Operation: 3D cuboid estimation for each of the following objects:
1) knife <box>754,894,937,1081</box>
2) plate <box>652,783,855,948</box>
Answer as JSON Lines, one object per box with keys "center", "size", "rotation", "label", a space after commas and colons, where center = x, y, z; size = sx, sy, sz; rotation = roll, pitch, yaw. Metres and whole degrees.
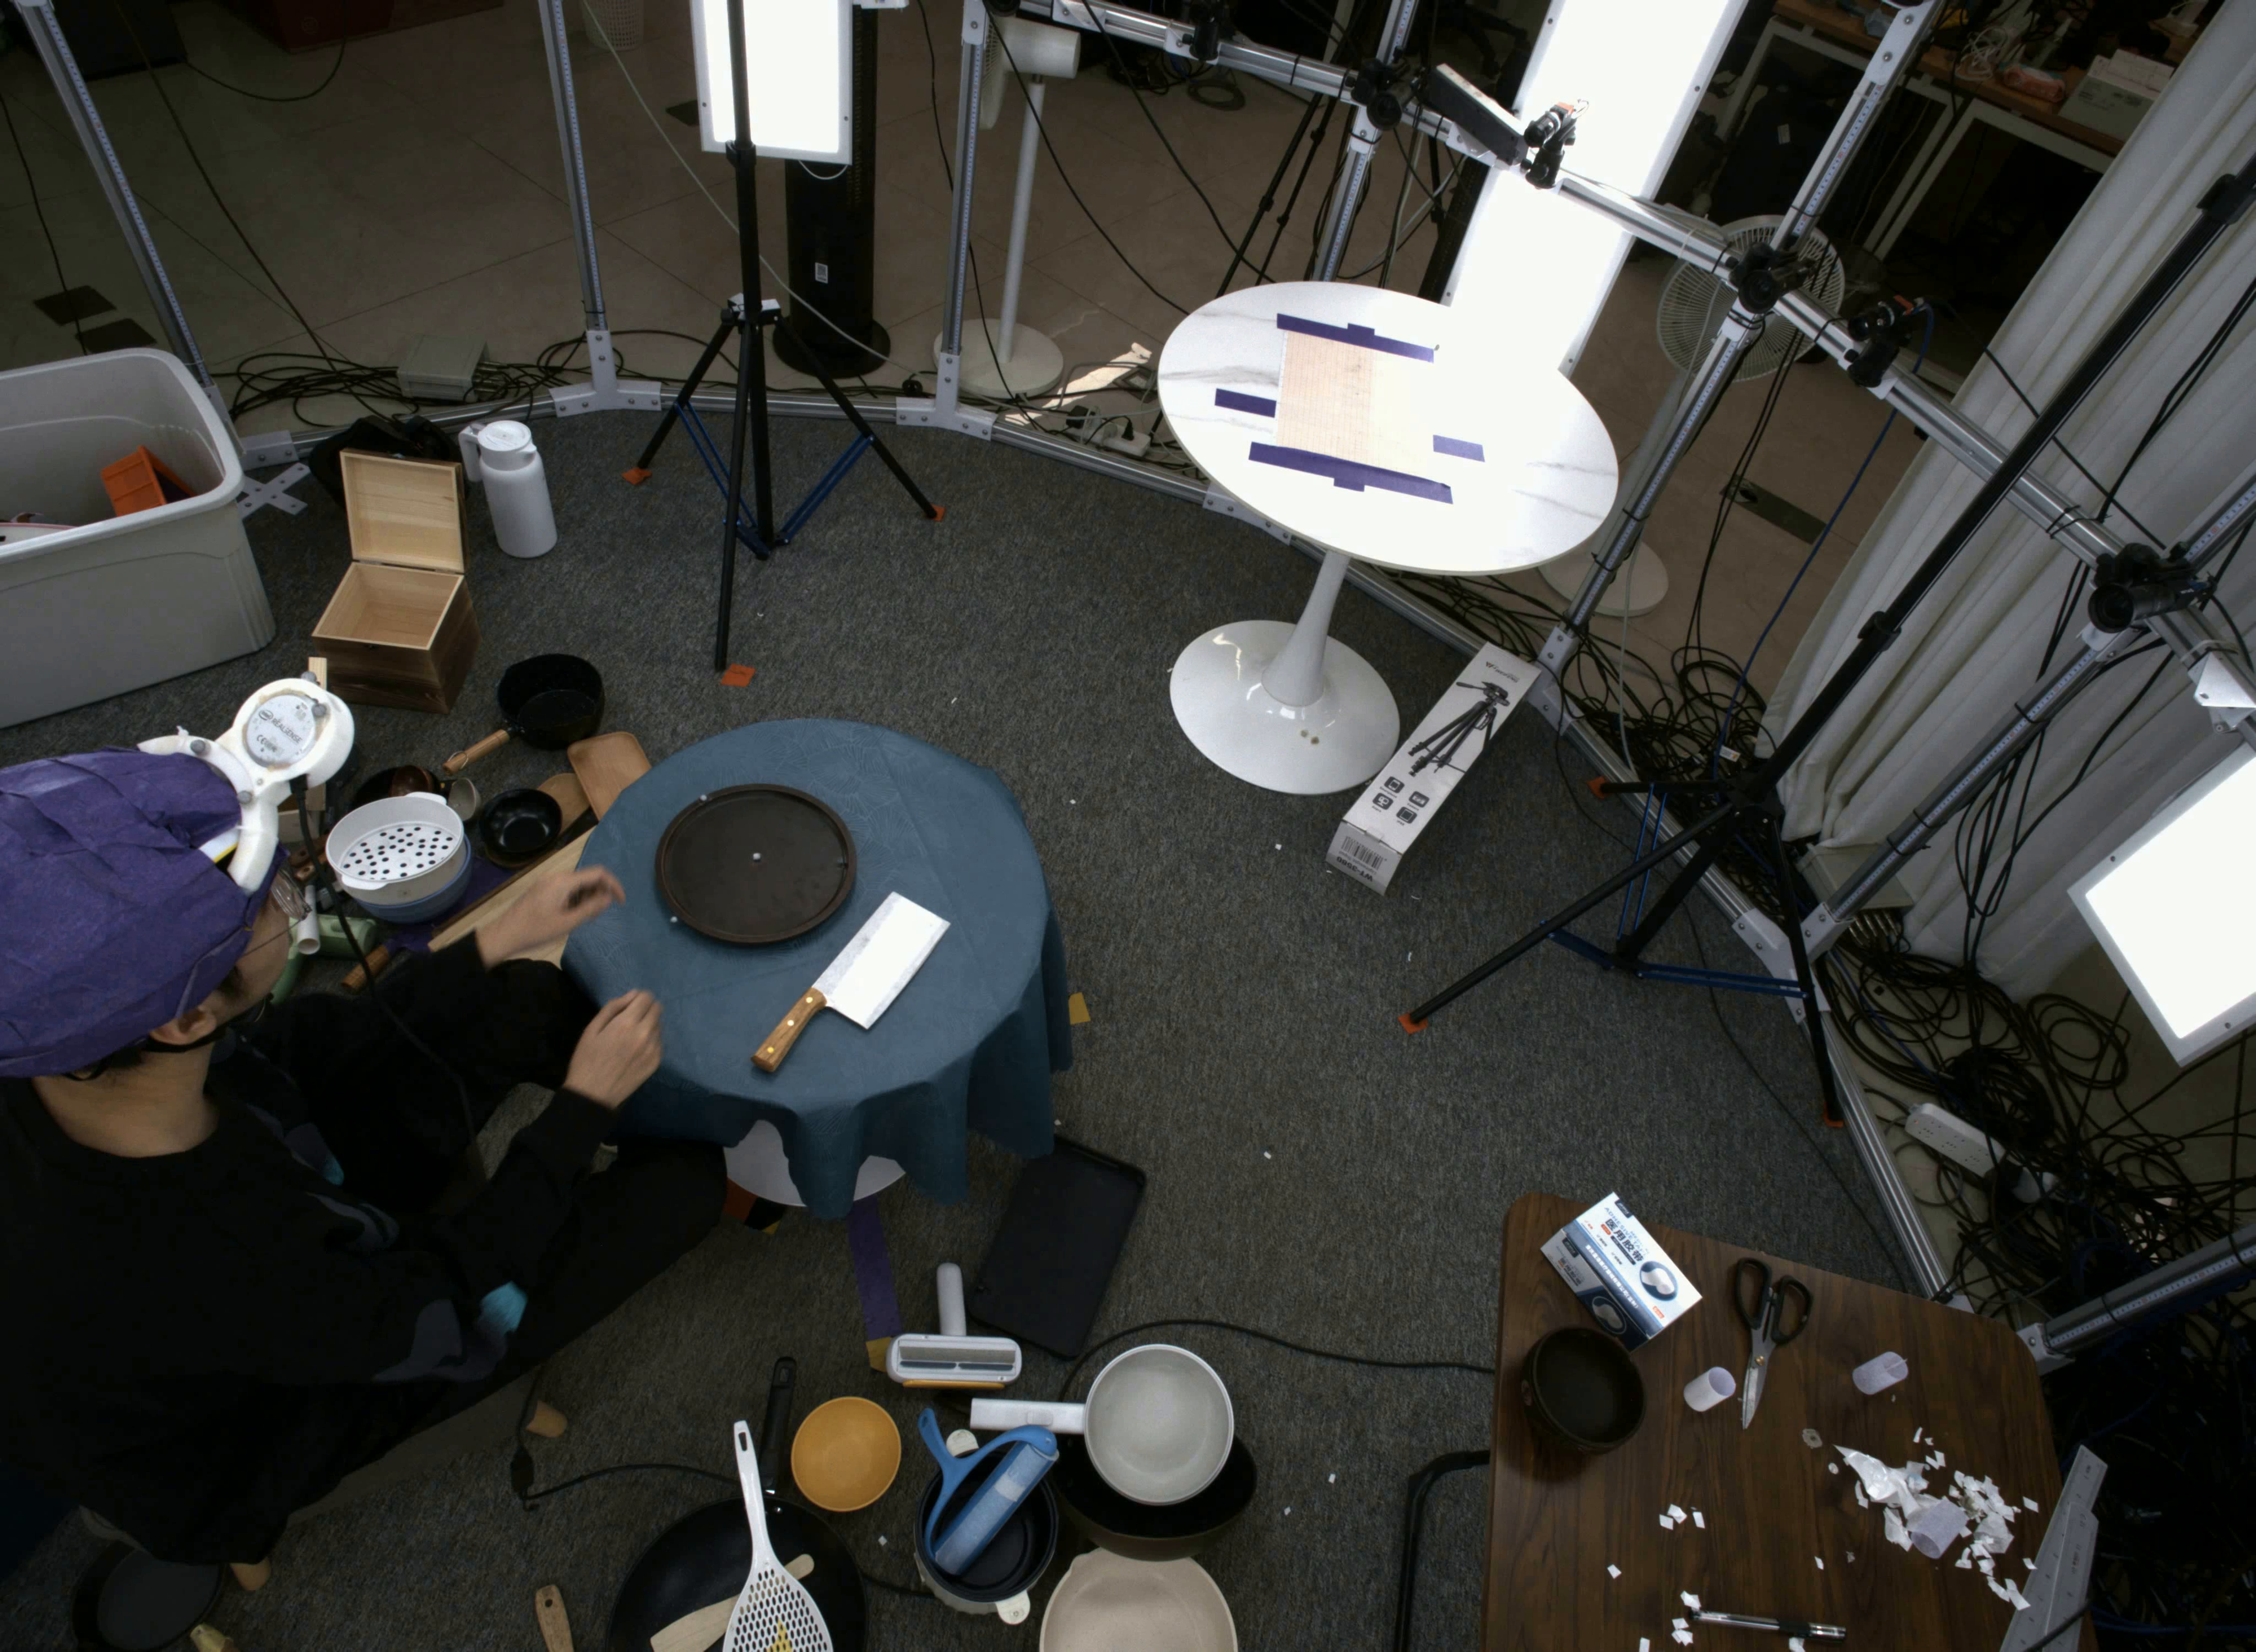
{"center": [-0.333, 0.198, 1.580], "size": [0.092, 0.021, 0.304], "rotation": [29, 50, 6], "label": "knife"}
{"center": [-0.475, 0.047, 1.648], "size": [0.254, 0.029, 0.250], "rotation": [8, 51, -8], "label": "plate"}
